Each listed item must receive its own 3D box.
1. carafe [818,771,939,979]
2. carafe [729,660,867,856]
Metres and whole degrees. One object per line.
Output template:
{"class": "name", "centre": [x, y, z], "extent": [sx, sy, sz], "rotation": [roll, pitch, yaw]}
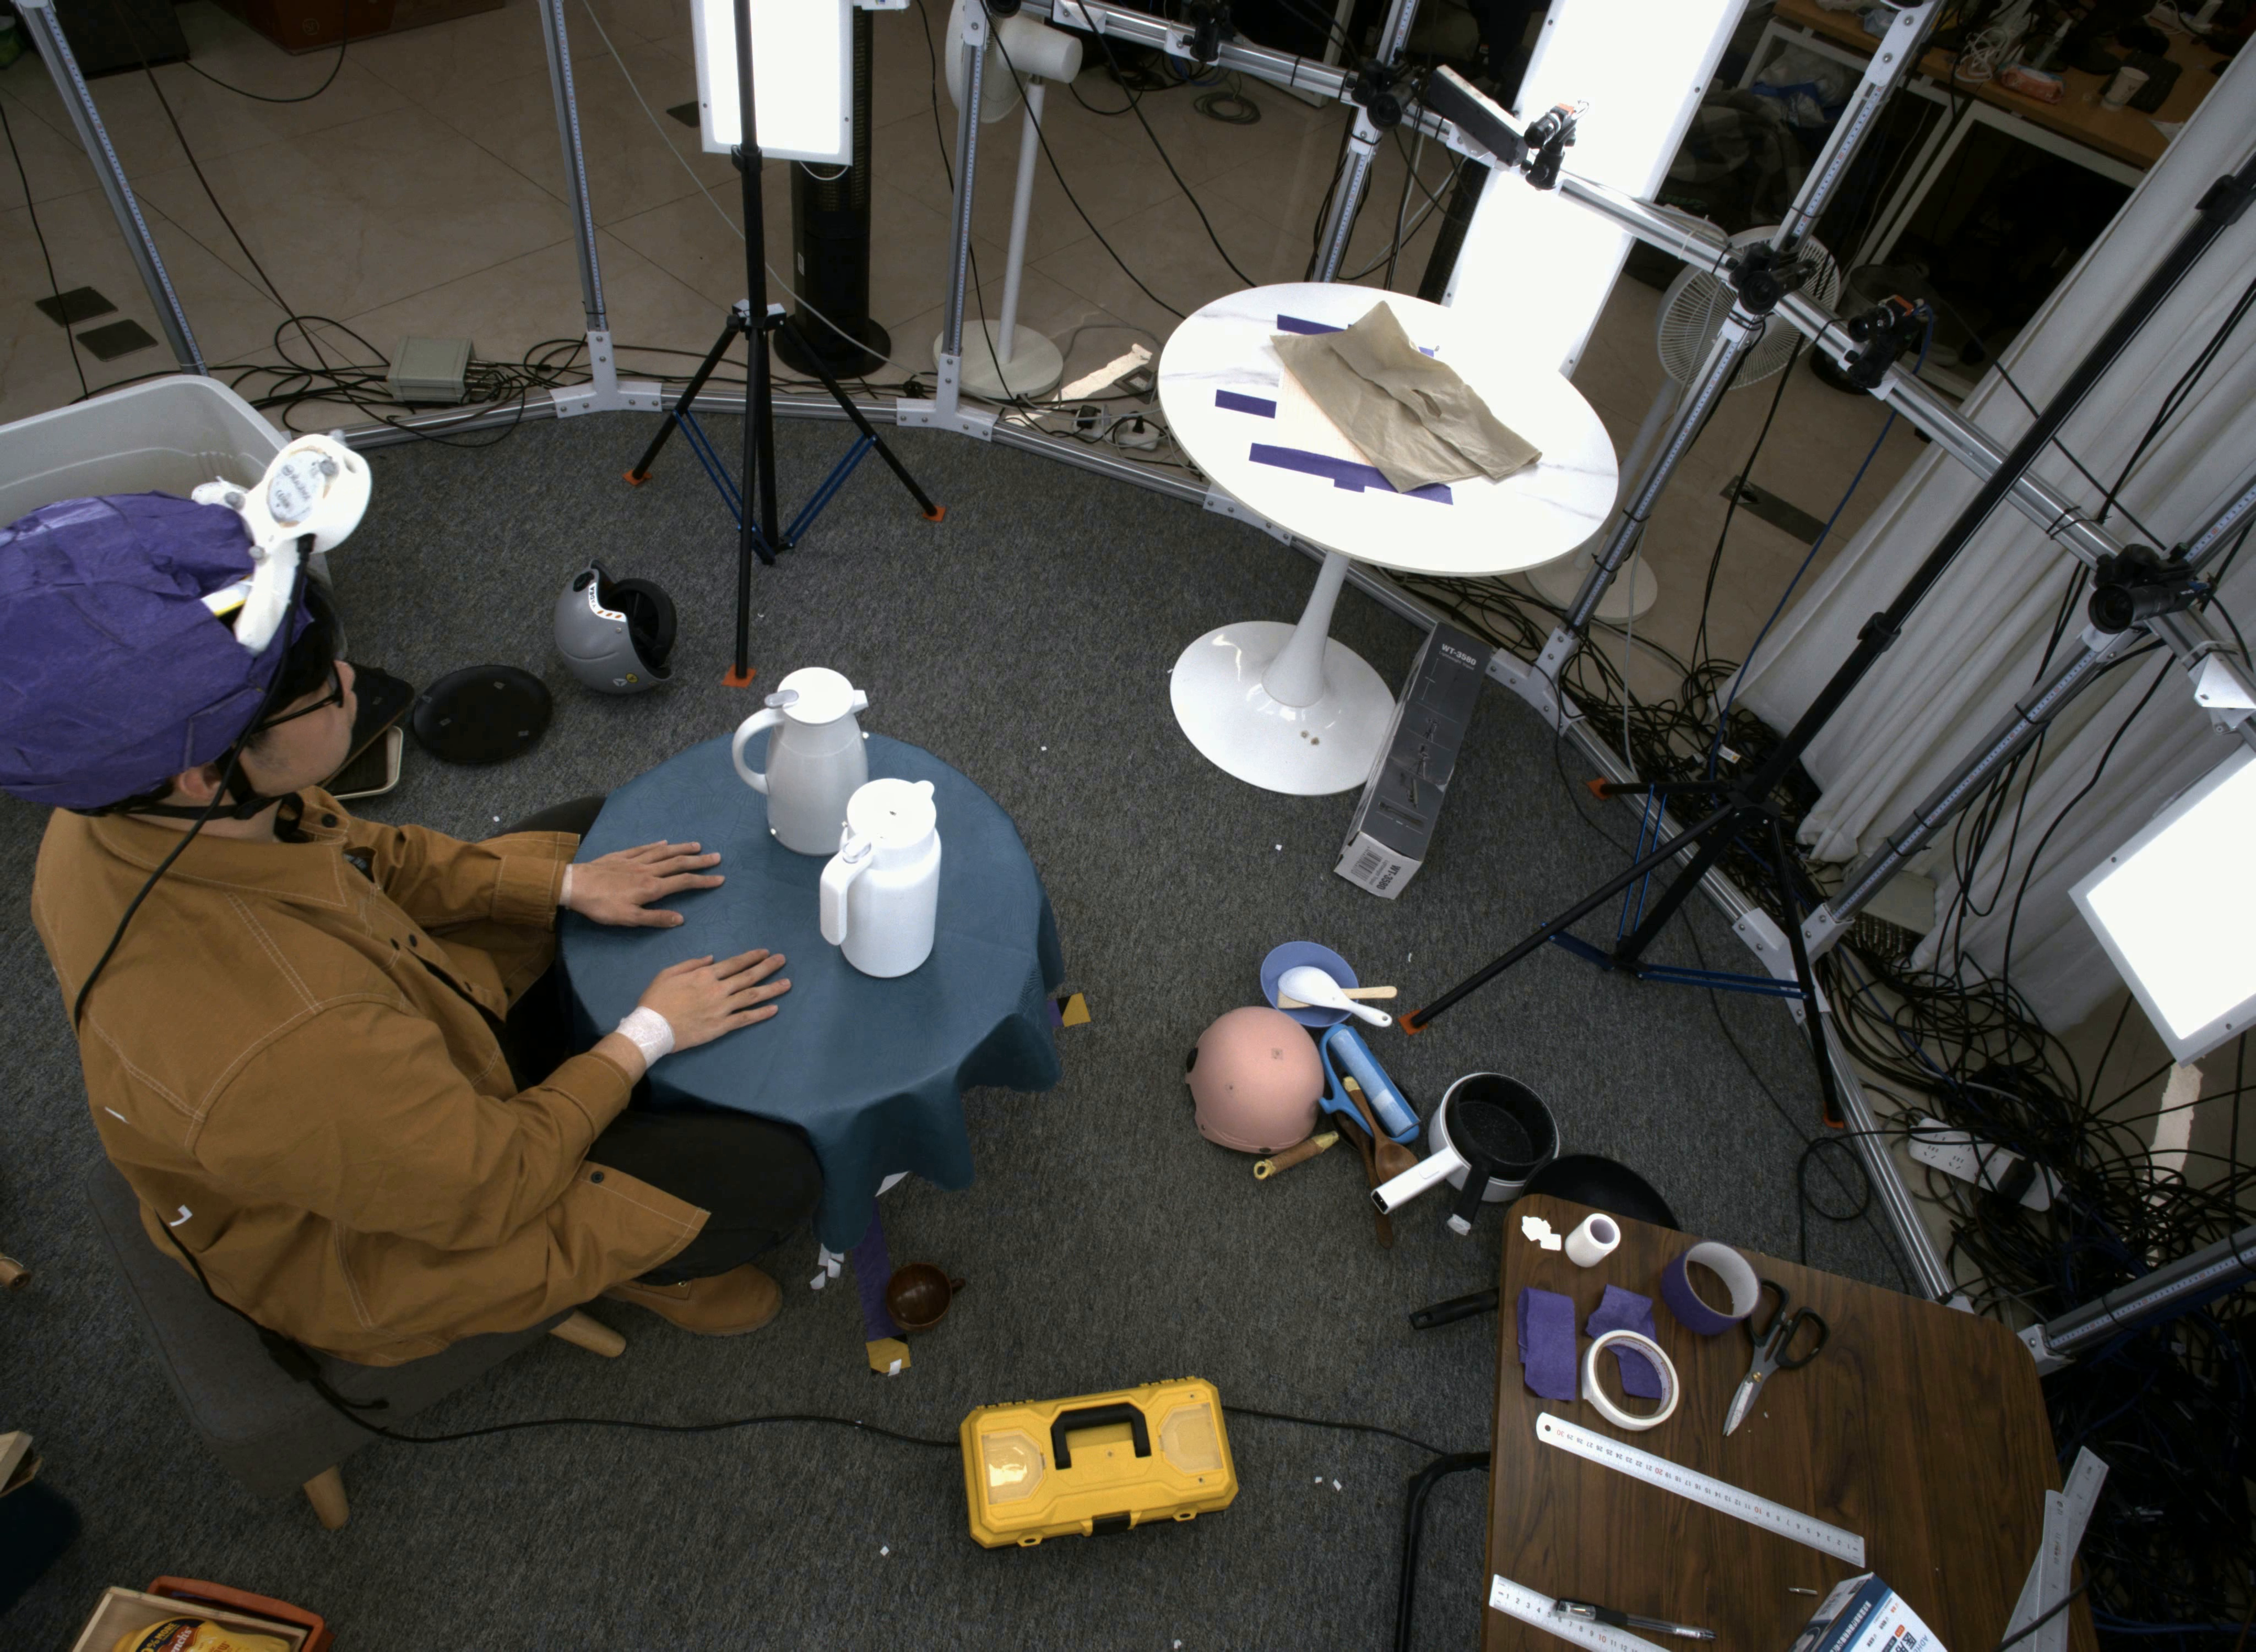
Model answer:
{"class": "carafe", "centre": [-0.293, 0.072, 1.529], "extent": [0.121, 0.274, 0.172], "rotation": [32, 53, 12]}
{"class": "carafe", "centre": [-0.413, -0.087, 1.628], "extent": [0.168, 0.254, 0.129], "rotation": [-12, 55, -20]}
